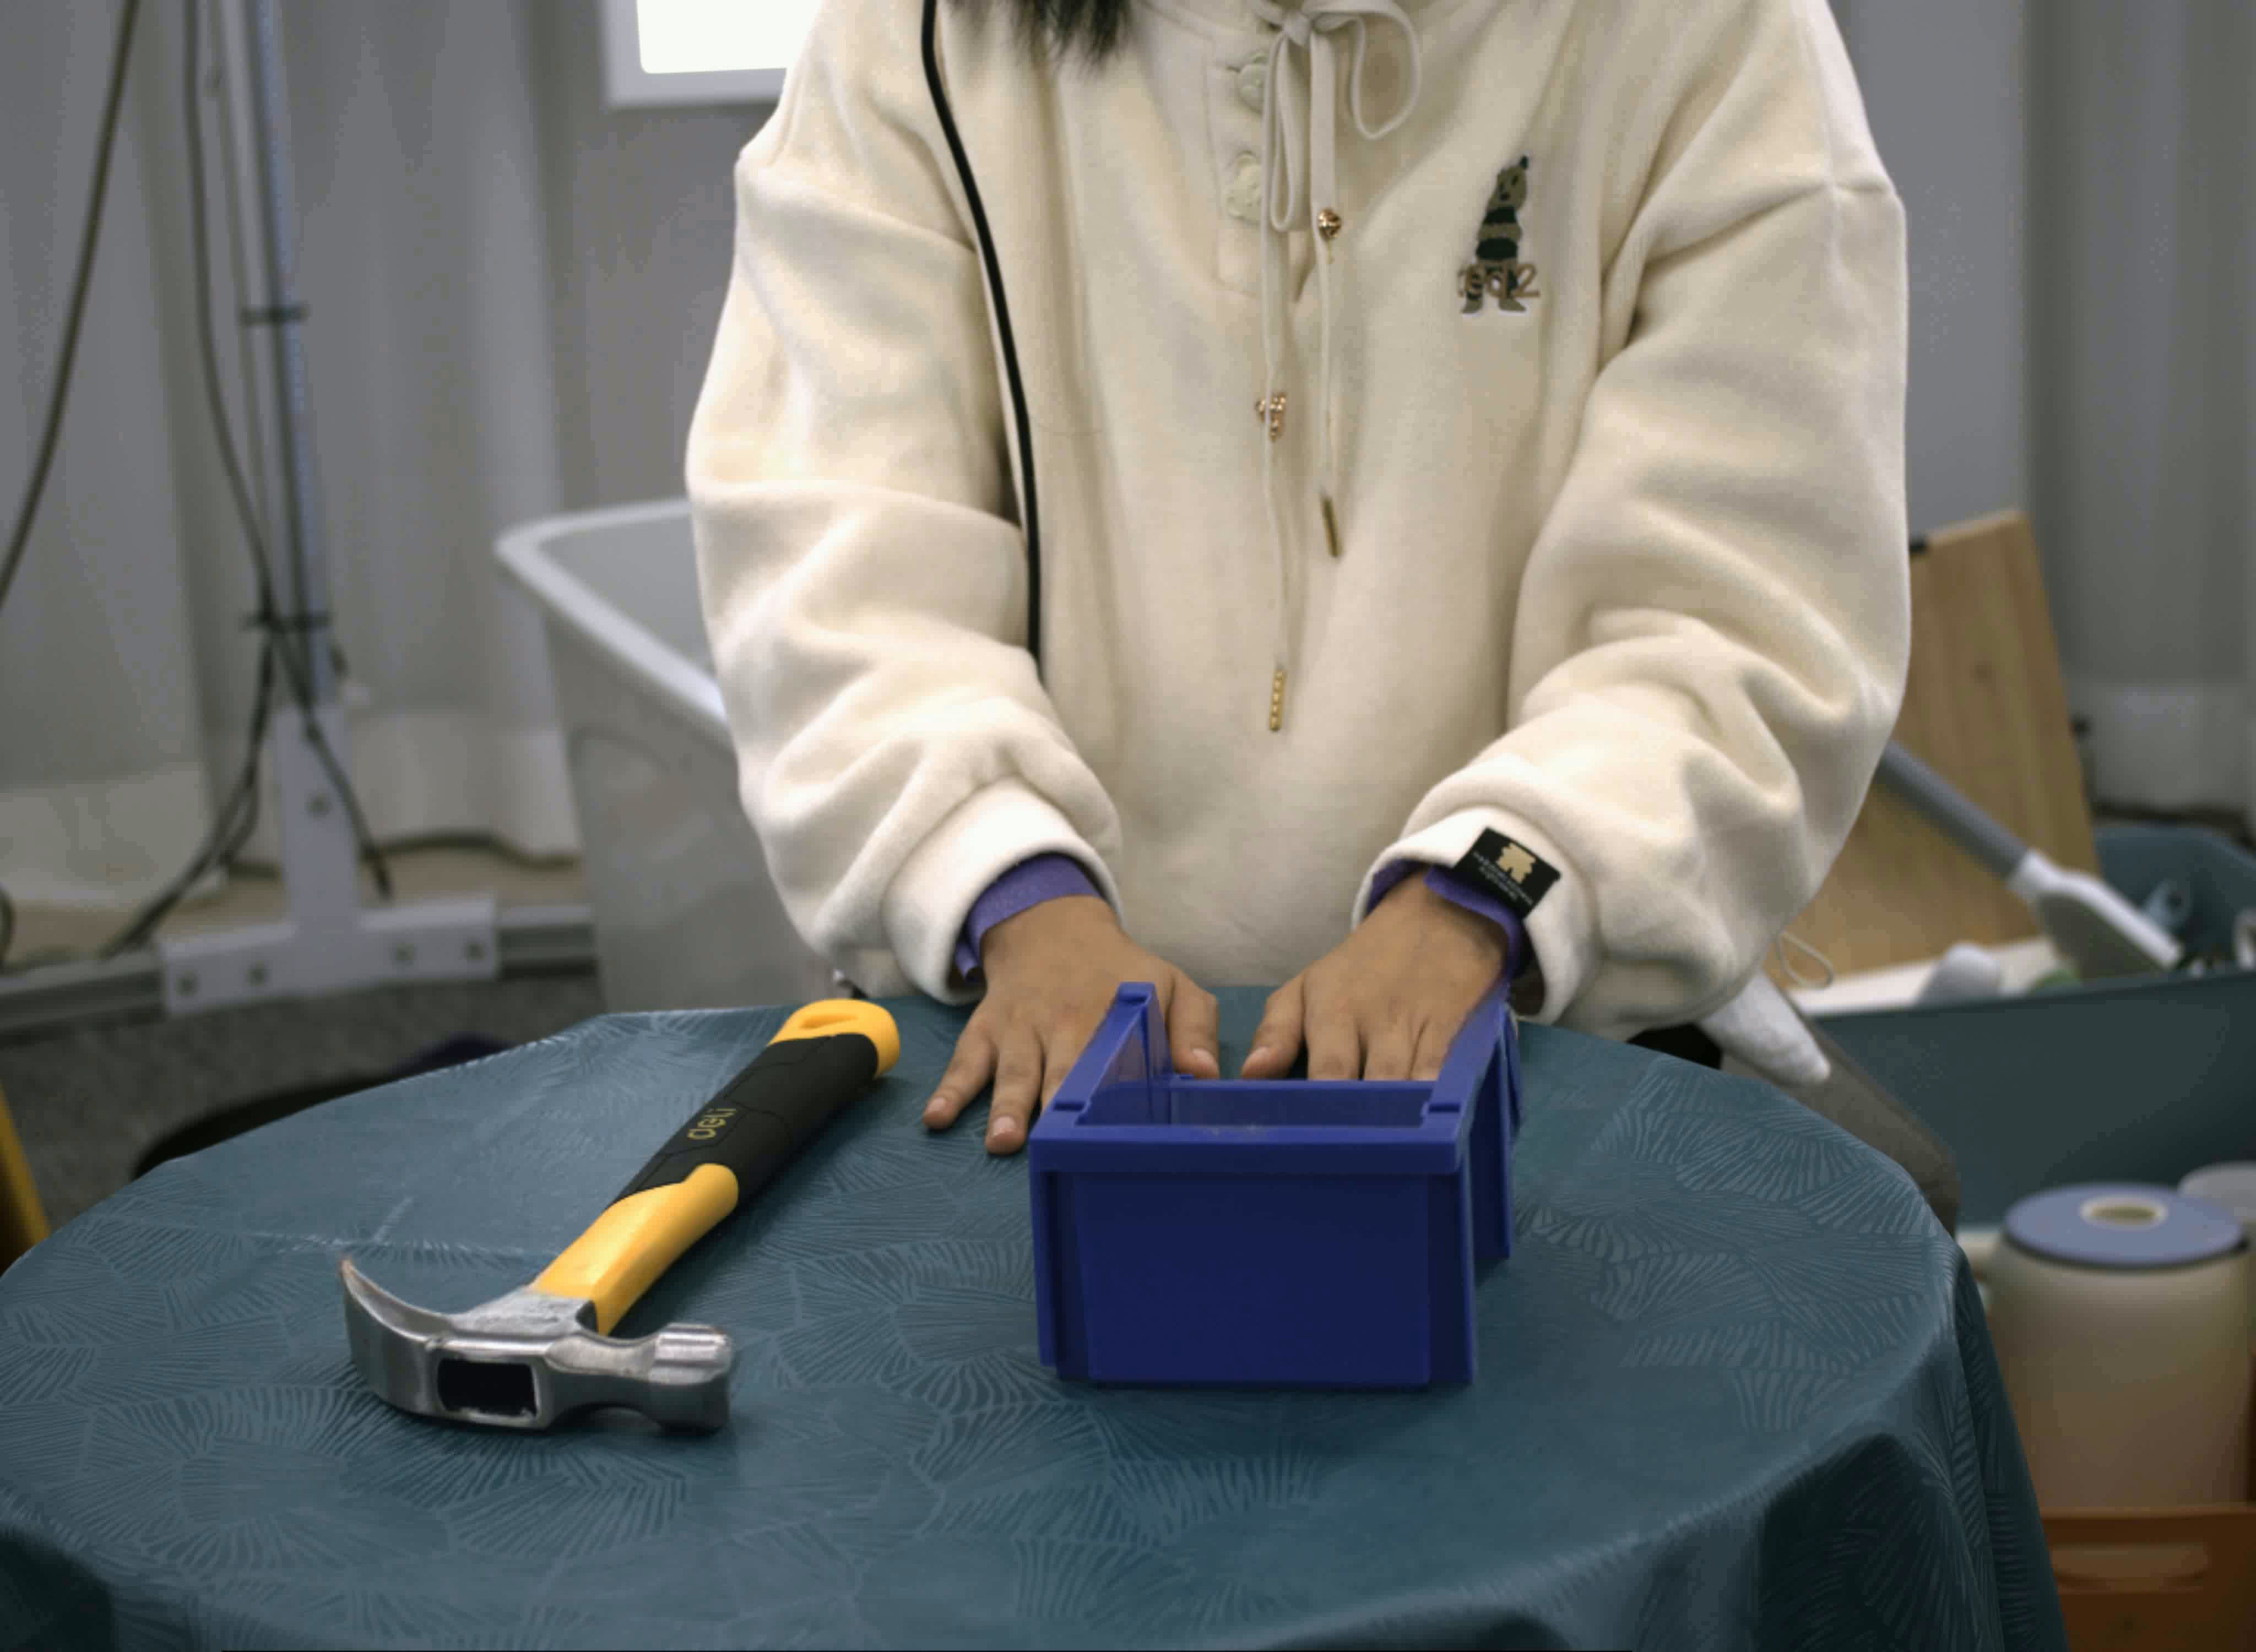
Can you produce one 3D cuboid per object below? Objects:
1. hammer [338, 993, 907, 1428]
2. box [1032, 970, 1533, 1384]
[{"bbox_3d":[-0.136,0.111,1.687,0.131,0.032,0.340,0,15,16],"label":"hammer"},{"bbox_3d":[0.047,0.098,1.610,0.124,0.081,0.180,0,17,11],"label":"box"}]
